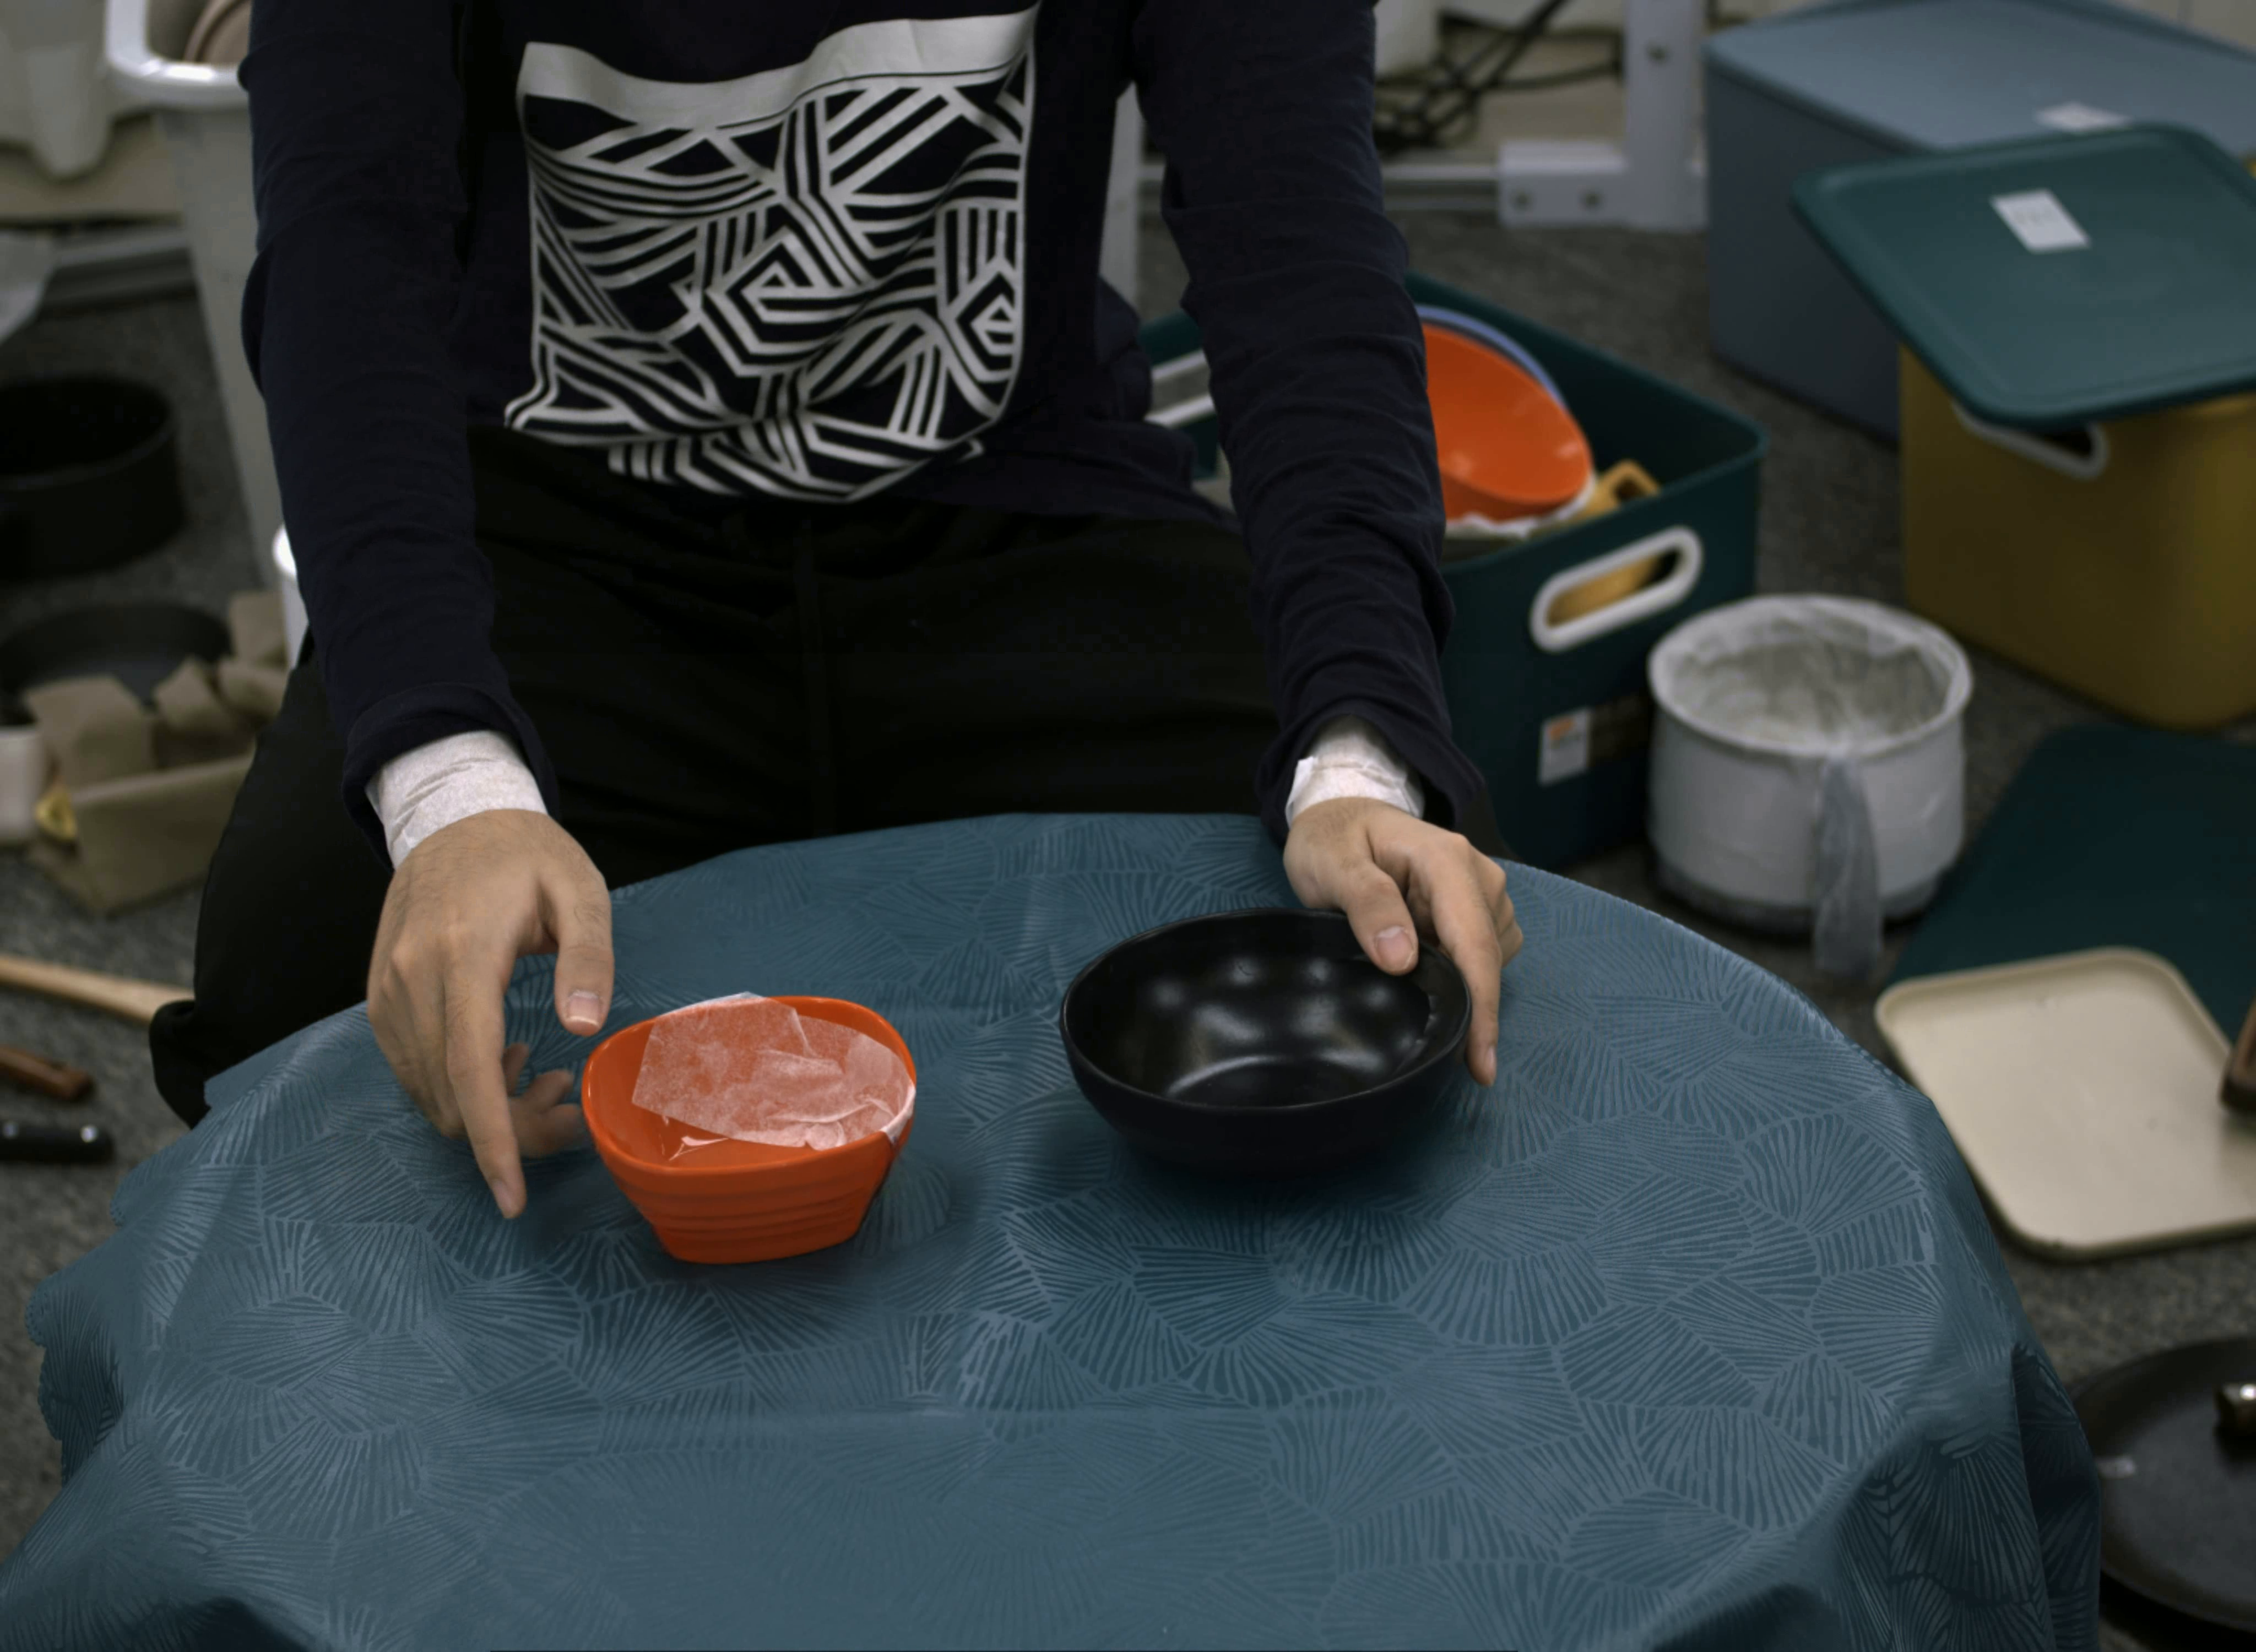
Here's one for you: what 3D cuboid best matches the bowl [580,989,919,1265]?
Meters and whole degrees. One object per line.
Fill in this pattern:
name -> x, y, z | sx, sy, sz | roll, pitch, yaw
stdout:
bowl -> -0.123, 0.104, 1.851 | 0.118, 0.051, 0.121 | -3, 29, 2

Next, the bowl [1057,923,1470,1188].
bowl -> 0.046, 0.083, 1.883 | 0.139, 0.049, 0.142 | -3, 23, 2
